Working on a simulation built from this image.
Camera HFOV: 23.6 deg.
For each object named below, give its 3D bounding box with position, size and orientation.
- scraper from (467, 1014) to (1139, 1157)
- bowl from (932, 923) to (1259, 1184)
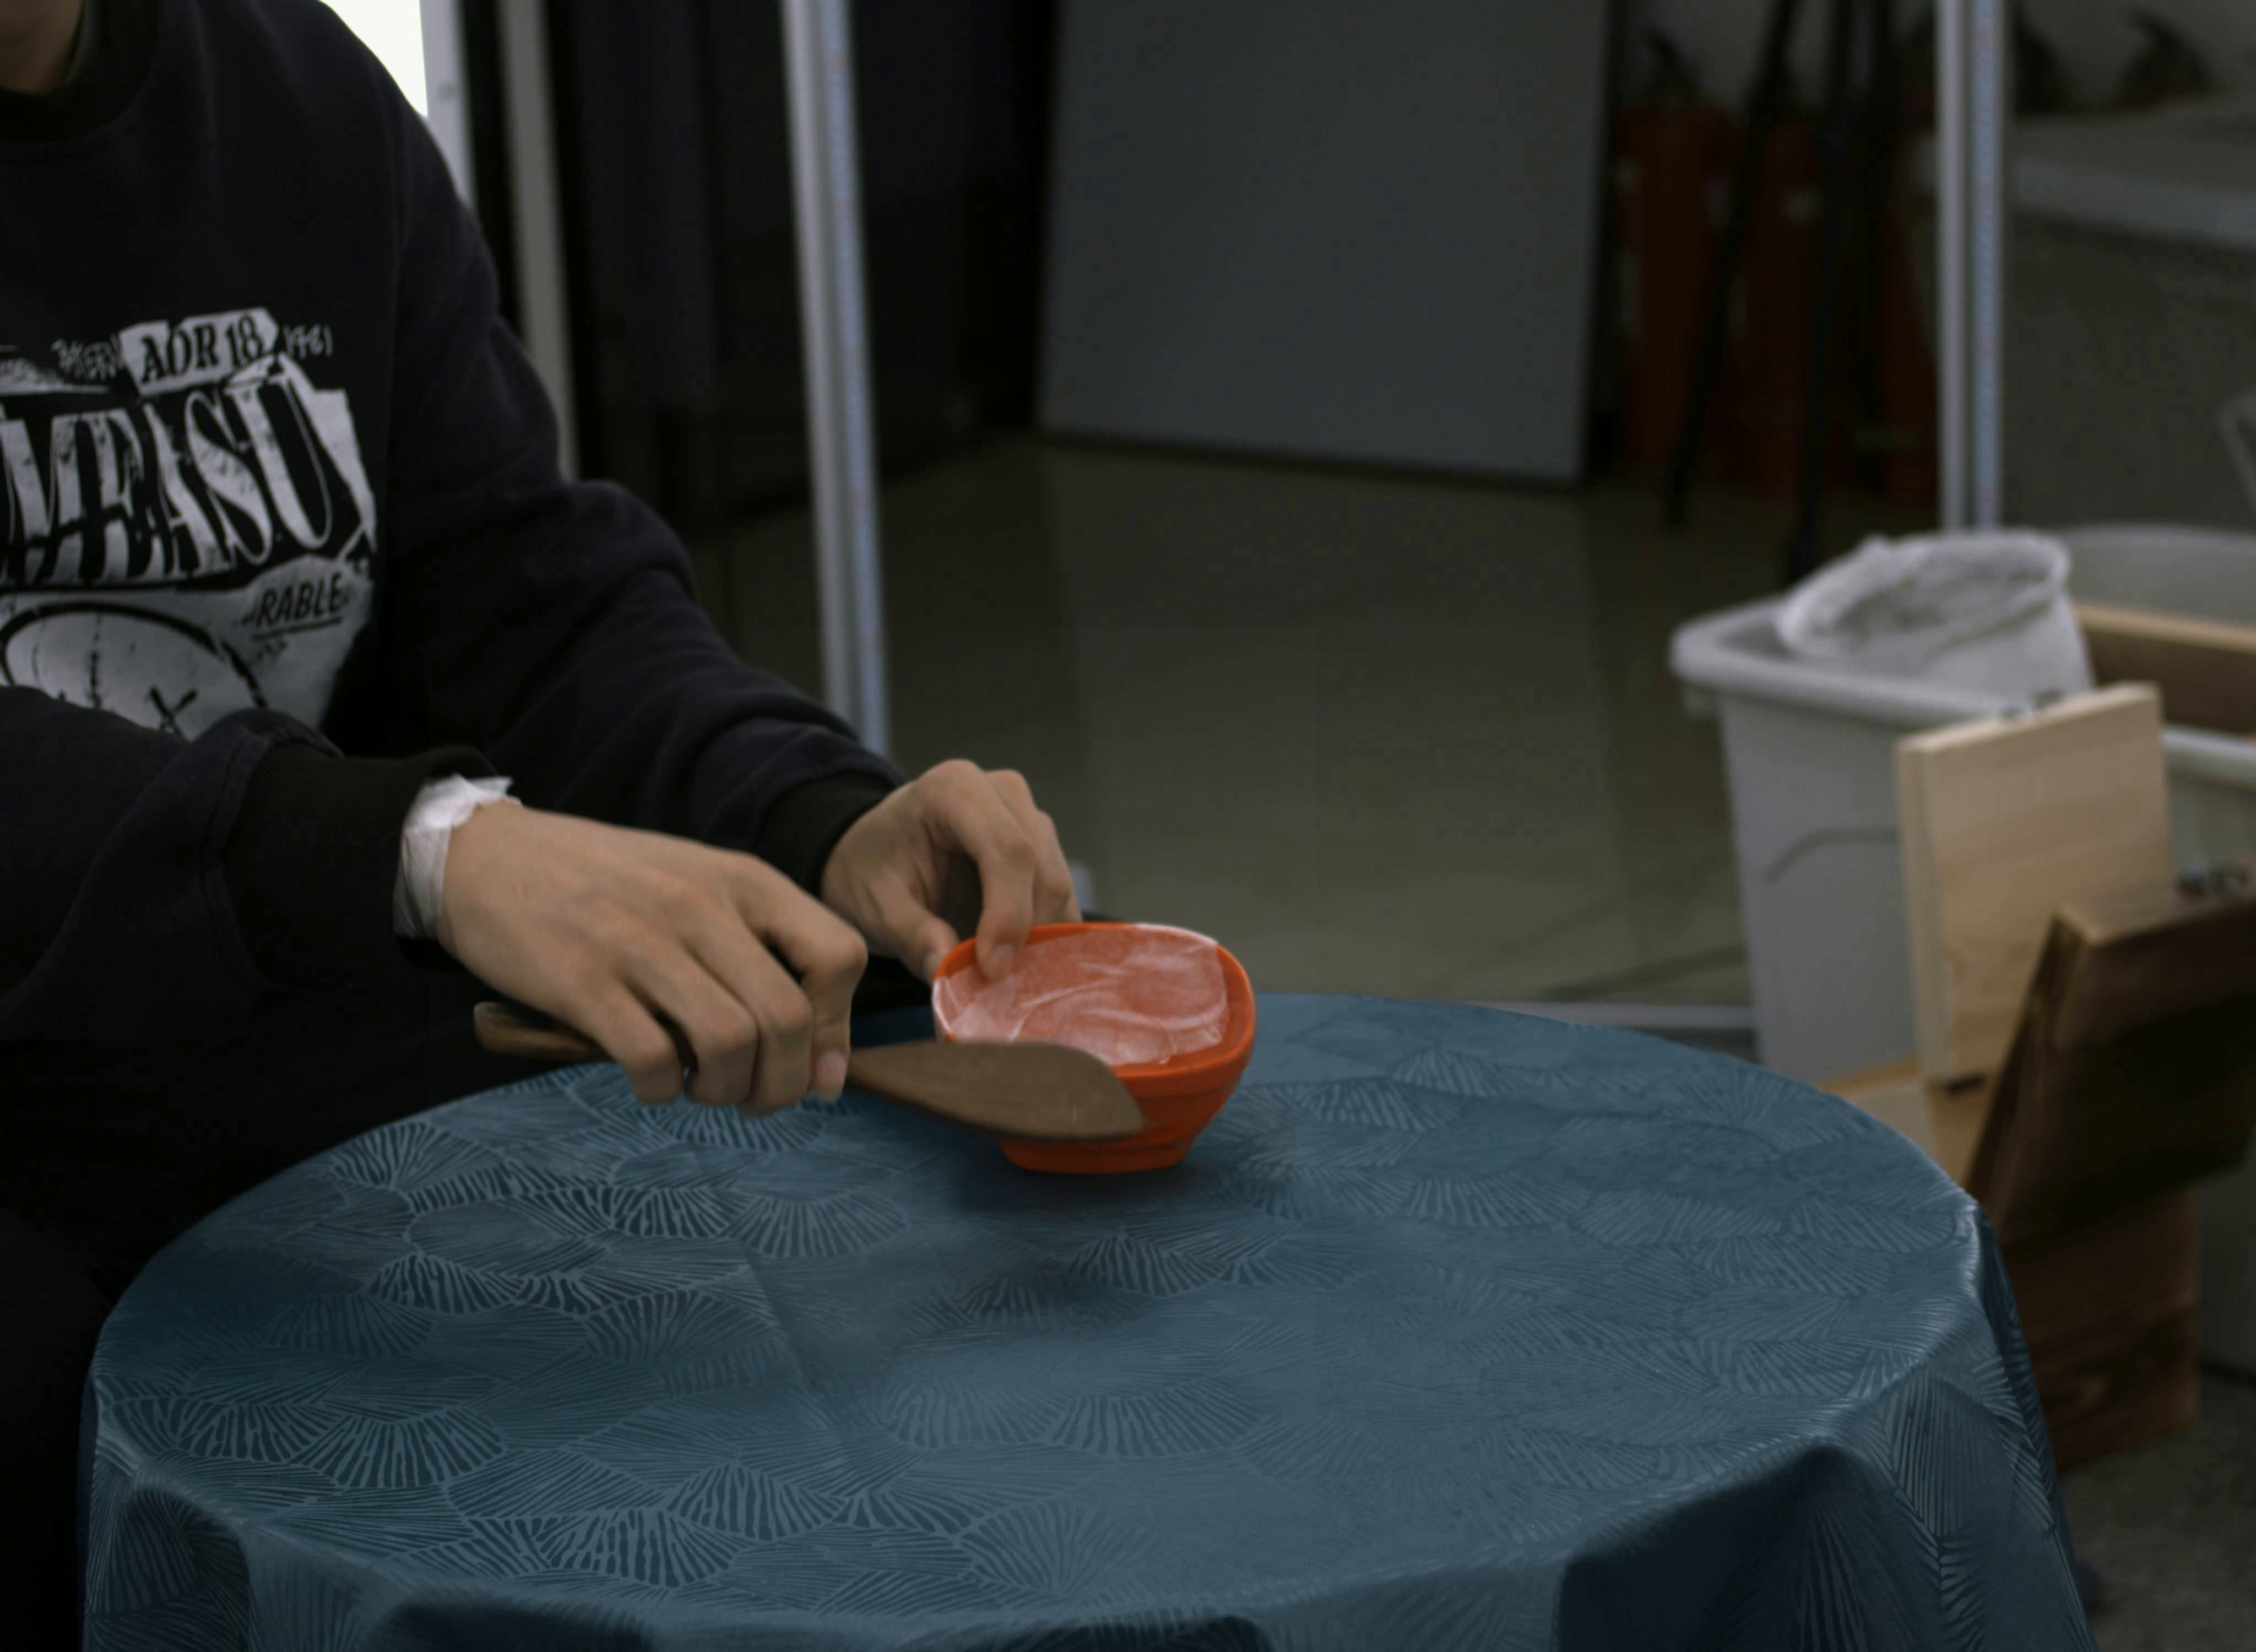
[{"bbox_3d":[-0.100,0.077,1.662,0.207,0.011,0.076,8,17,-16],"label":"scraper"},{"bbox_3d":[-0.011,0.081,1.807,0.117,0.052,0.119,1,27,-1],"label":"bowl"}]
